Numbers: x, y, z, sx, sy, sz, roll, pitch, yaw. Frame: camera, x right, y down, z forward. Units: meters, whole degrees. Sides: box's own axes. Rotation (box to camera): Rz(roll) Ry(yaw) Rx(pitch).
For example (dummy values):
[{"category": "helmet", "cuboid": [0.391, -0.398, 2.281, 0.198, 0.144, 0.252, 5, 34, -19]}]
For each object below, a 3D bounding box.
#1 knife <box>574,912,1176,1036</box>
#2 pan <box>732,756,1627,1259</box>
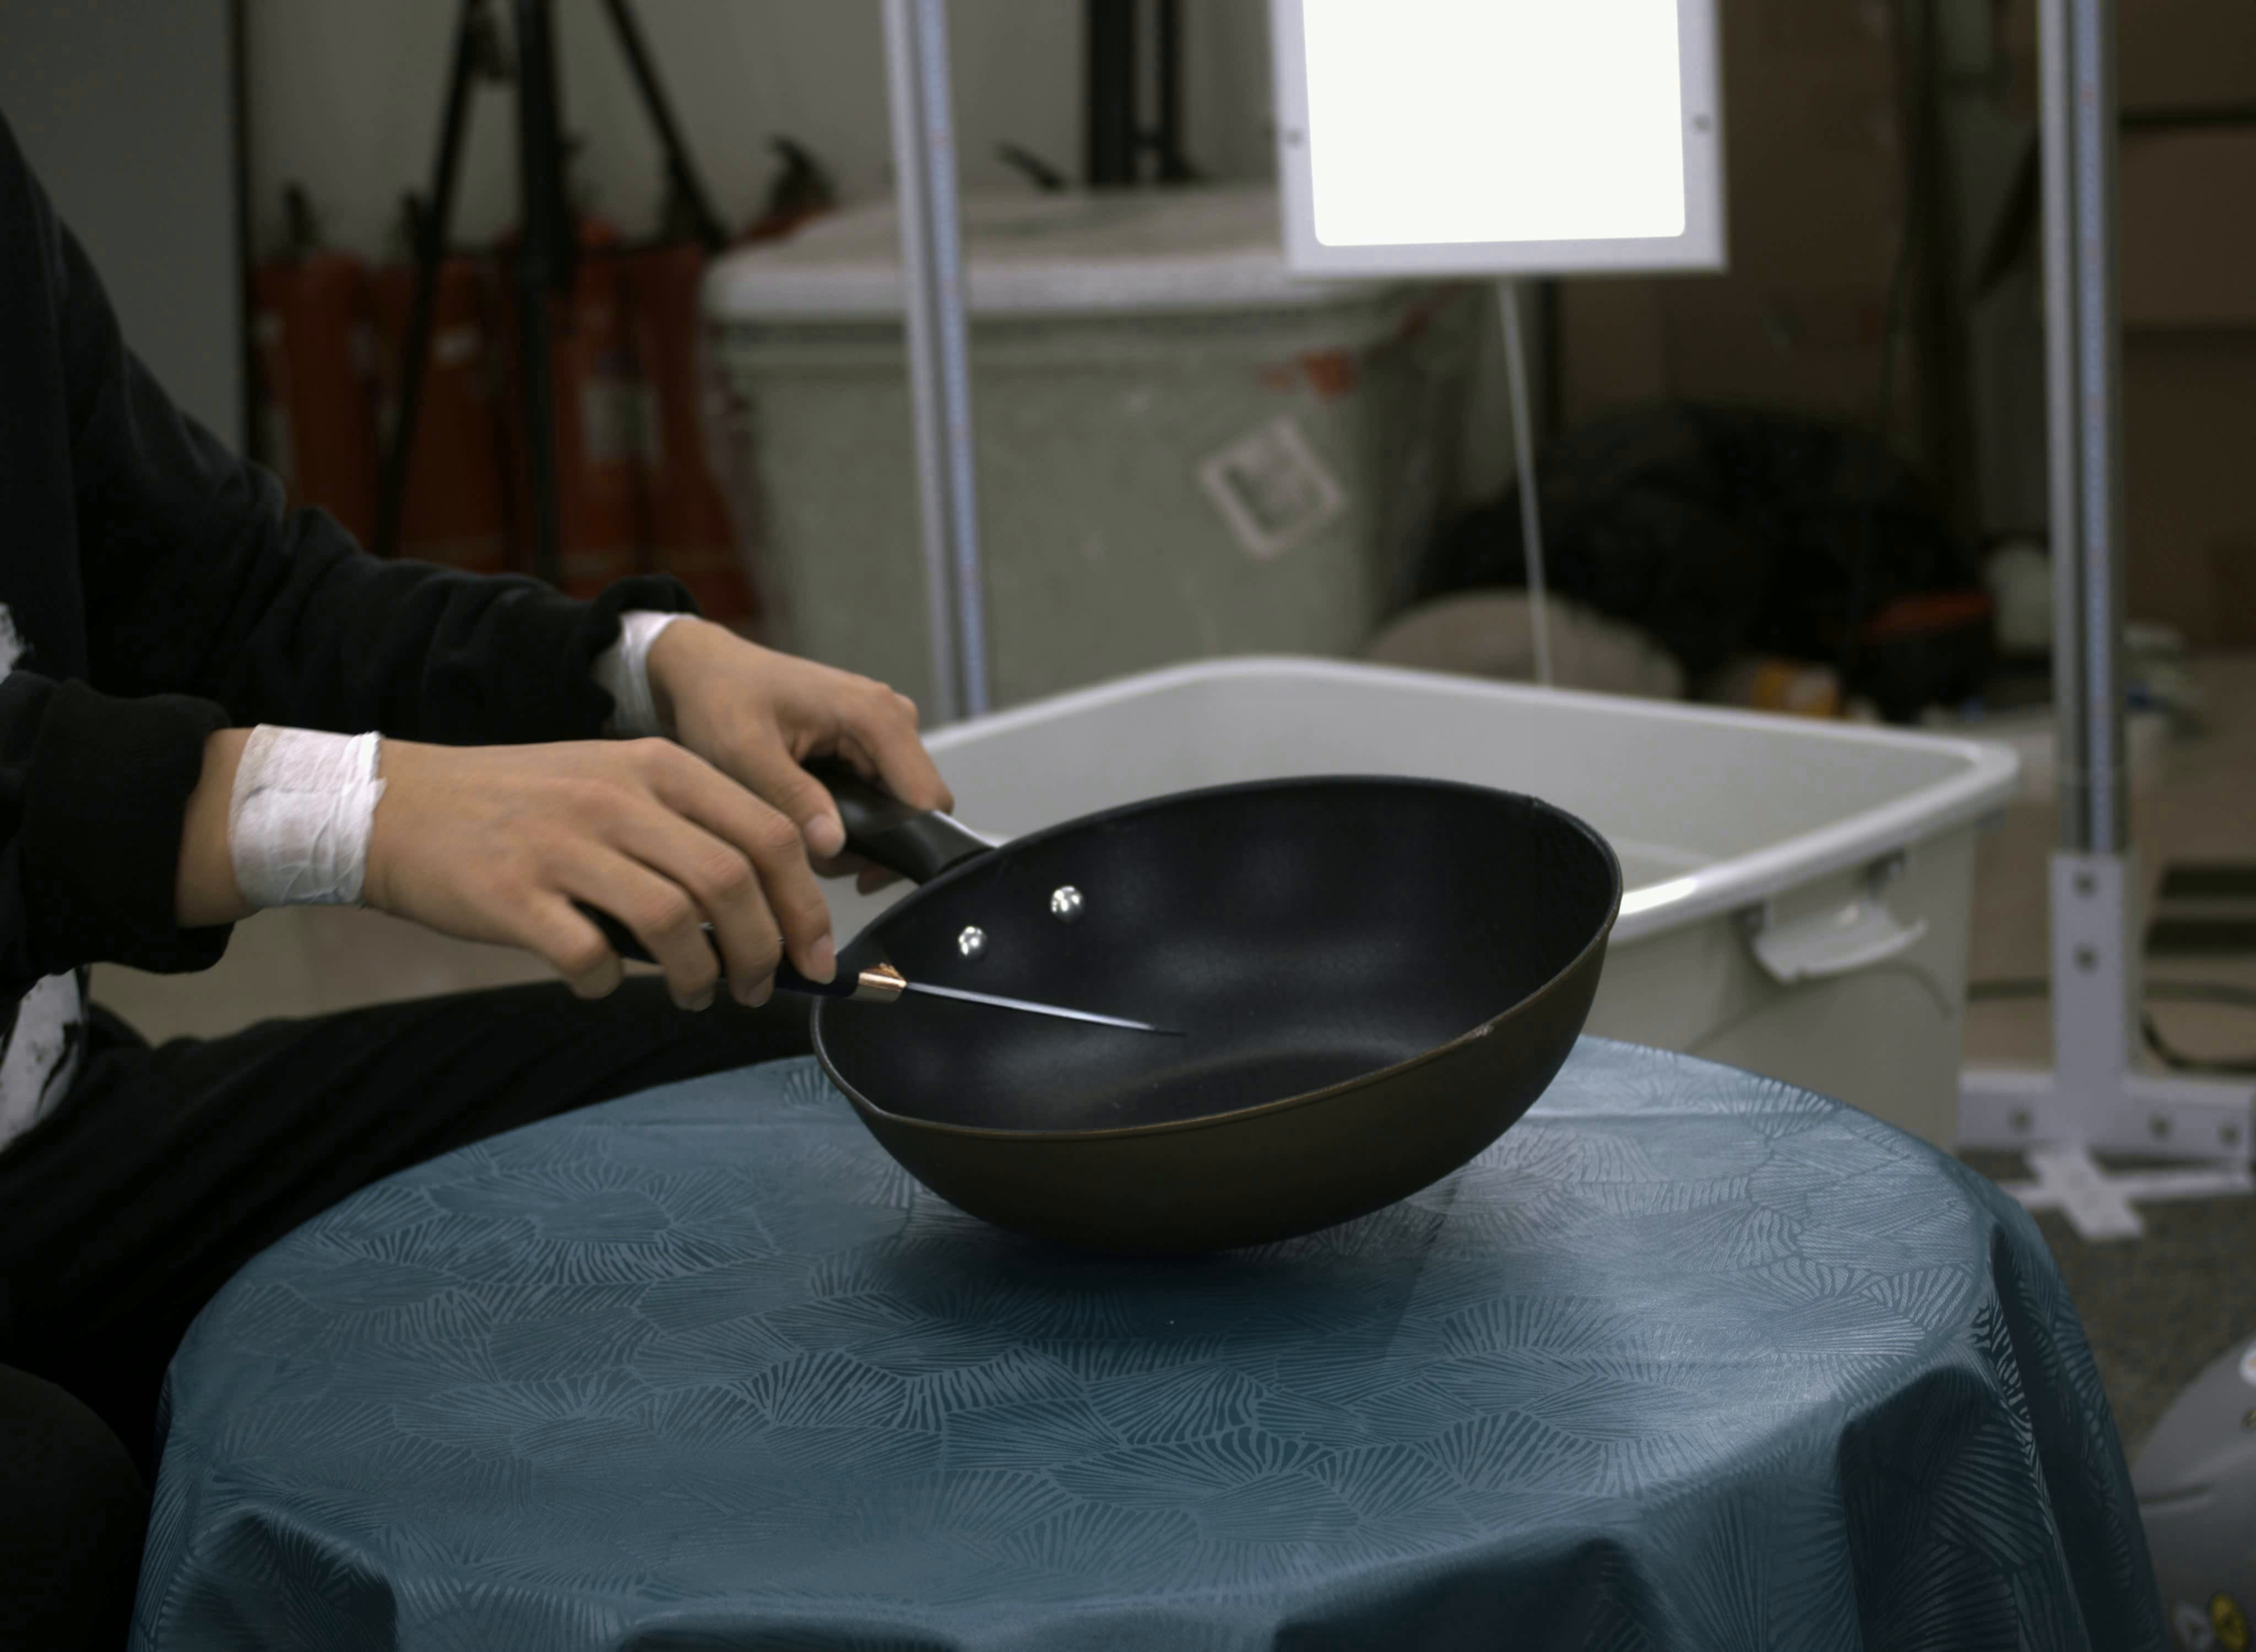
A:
[{"category": "knife", "cuboid": [-0.075, 0.050, 1.727, 0.220, 0.017, 0.027, 11, -1, -30]}, {"category": "pan", "cuboid": [-0.015, 0.057, 1.950, 0.282, 0.087, 0.472, -24, 24, -28]}]
